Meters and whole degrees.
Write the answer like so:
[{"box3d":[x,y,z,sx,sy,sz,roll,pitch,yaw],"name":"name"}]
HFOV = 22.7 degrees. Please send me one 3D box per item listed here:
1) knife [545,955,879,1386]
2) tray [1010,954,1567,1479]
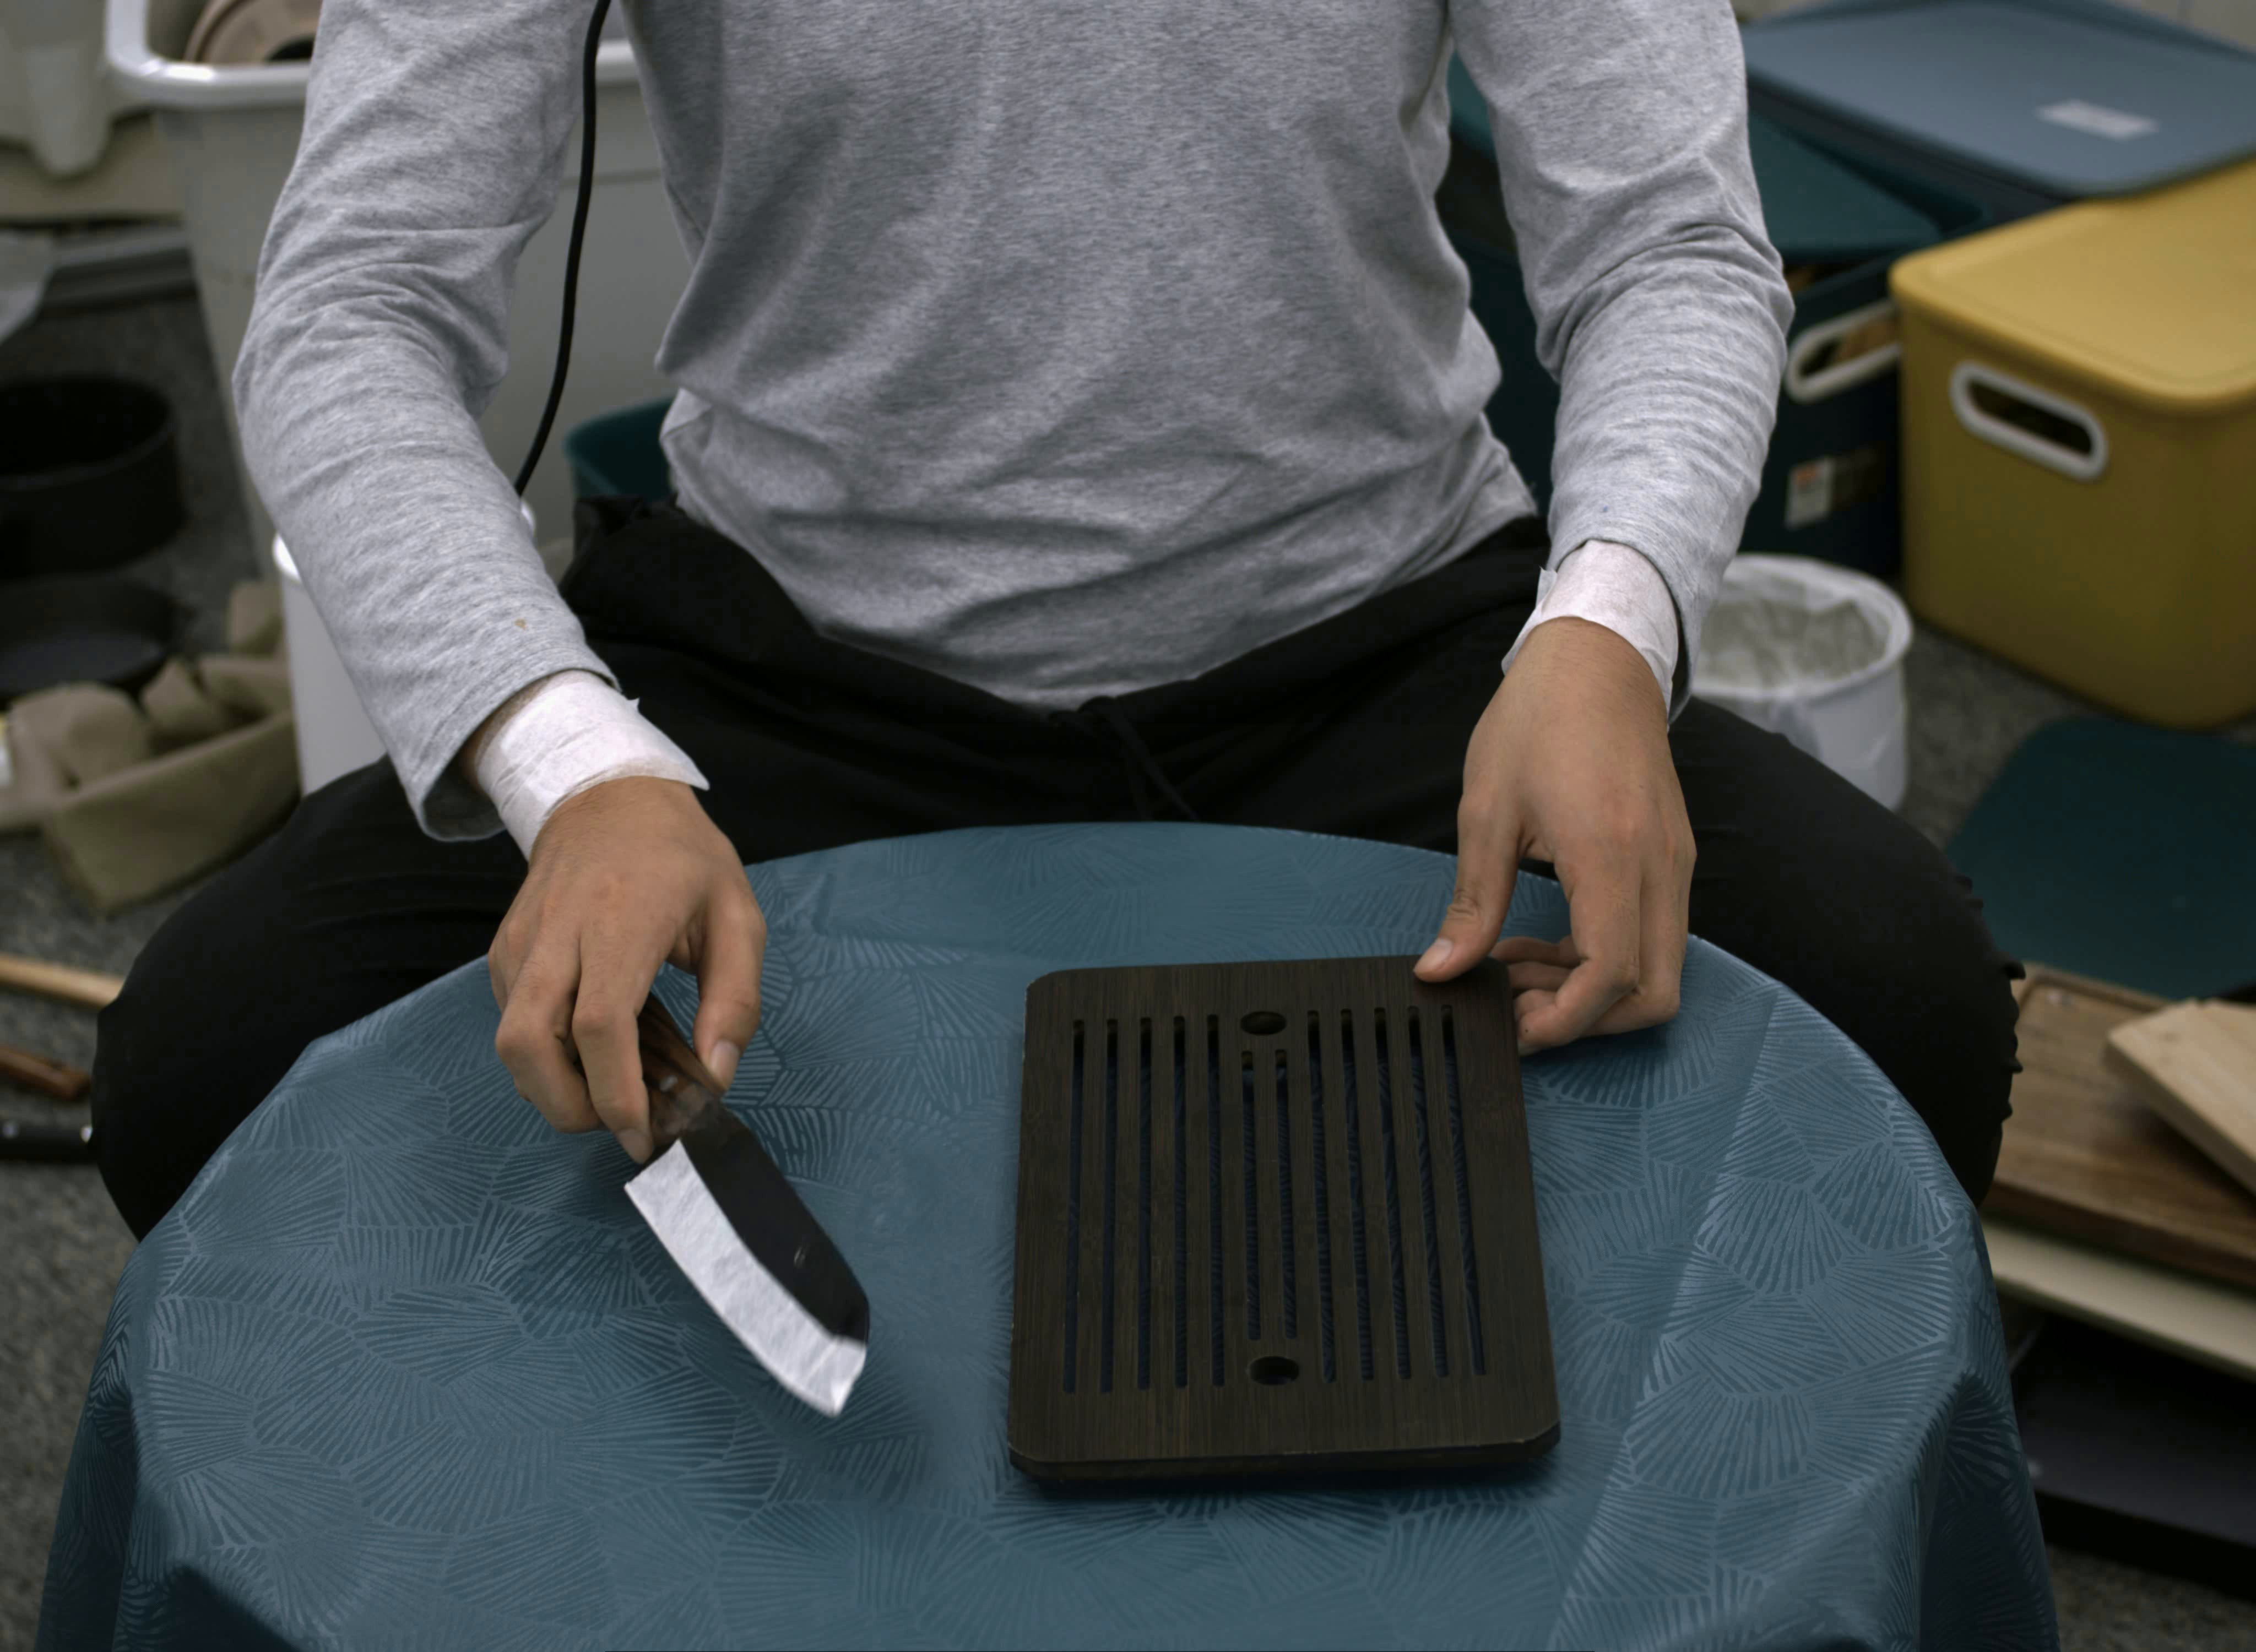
[{"box3d":[-0.135,0.108,1.798,0.050,0.020,0.291,-41,33,-2],"name":"knife"},{"box3d":[0.051,0.125,1.832,0.169,0.018,0.310,-2,27,2],"name":"tray"}]
